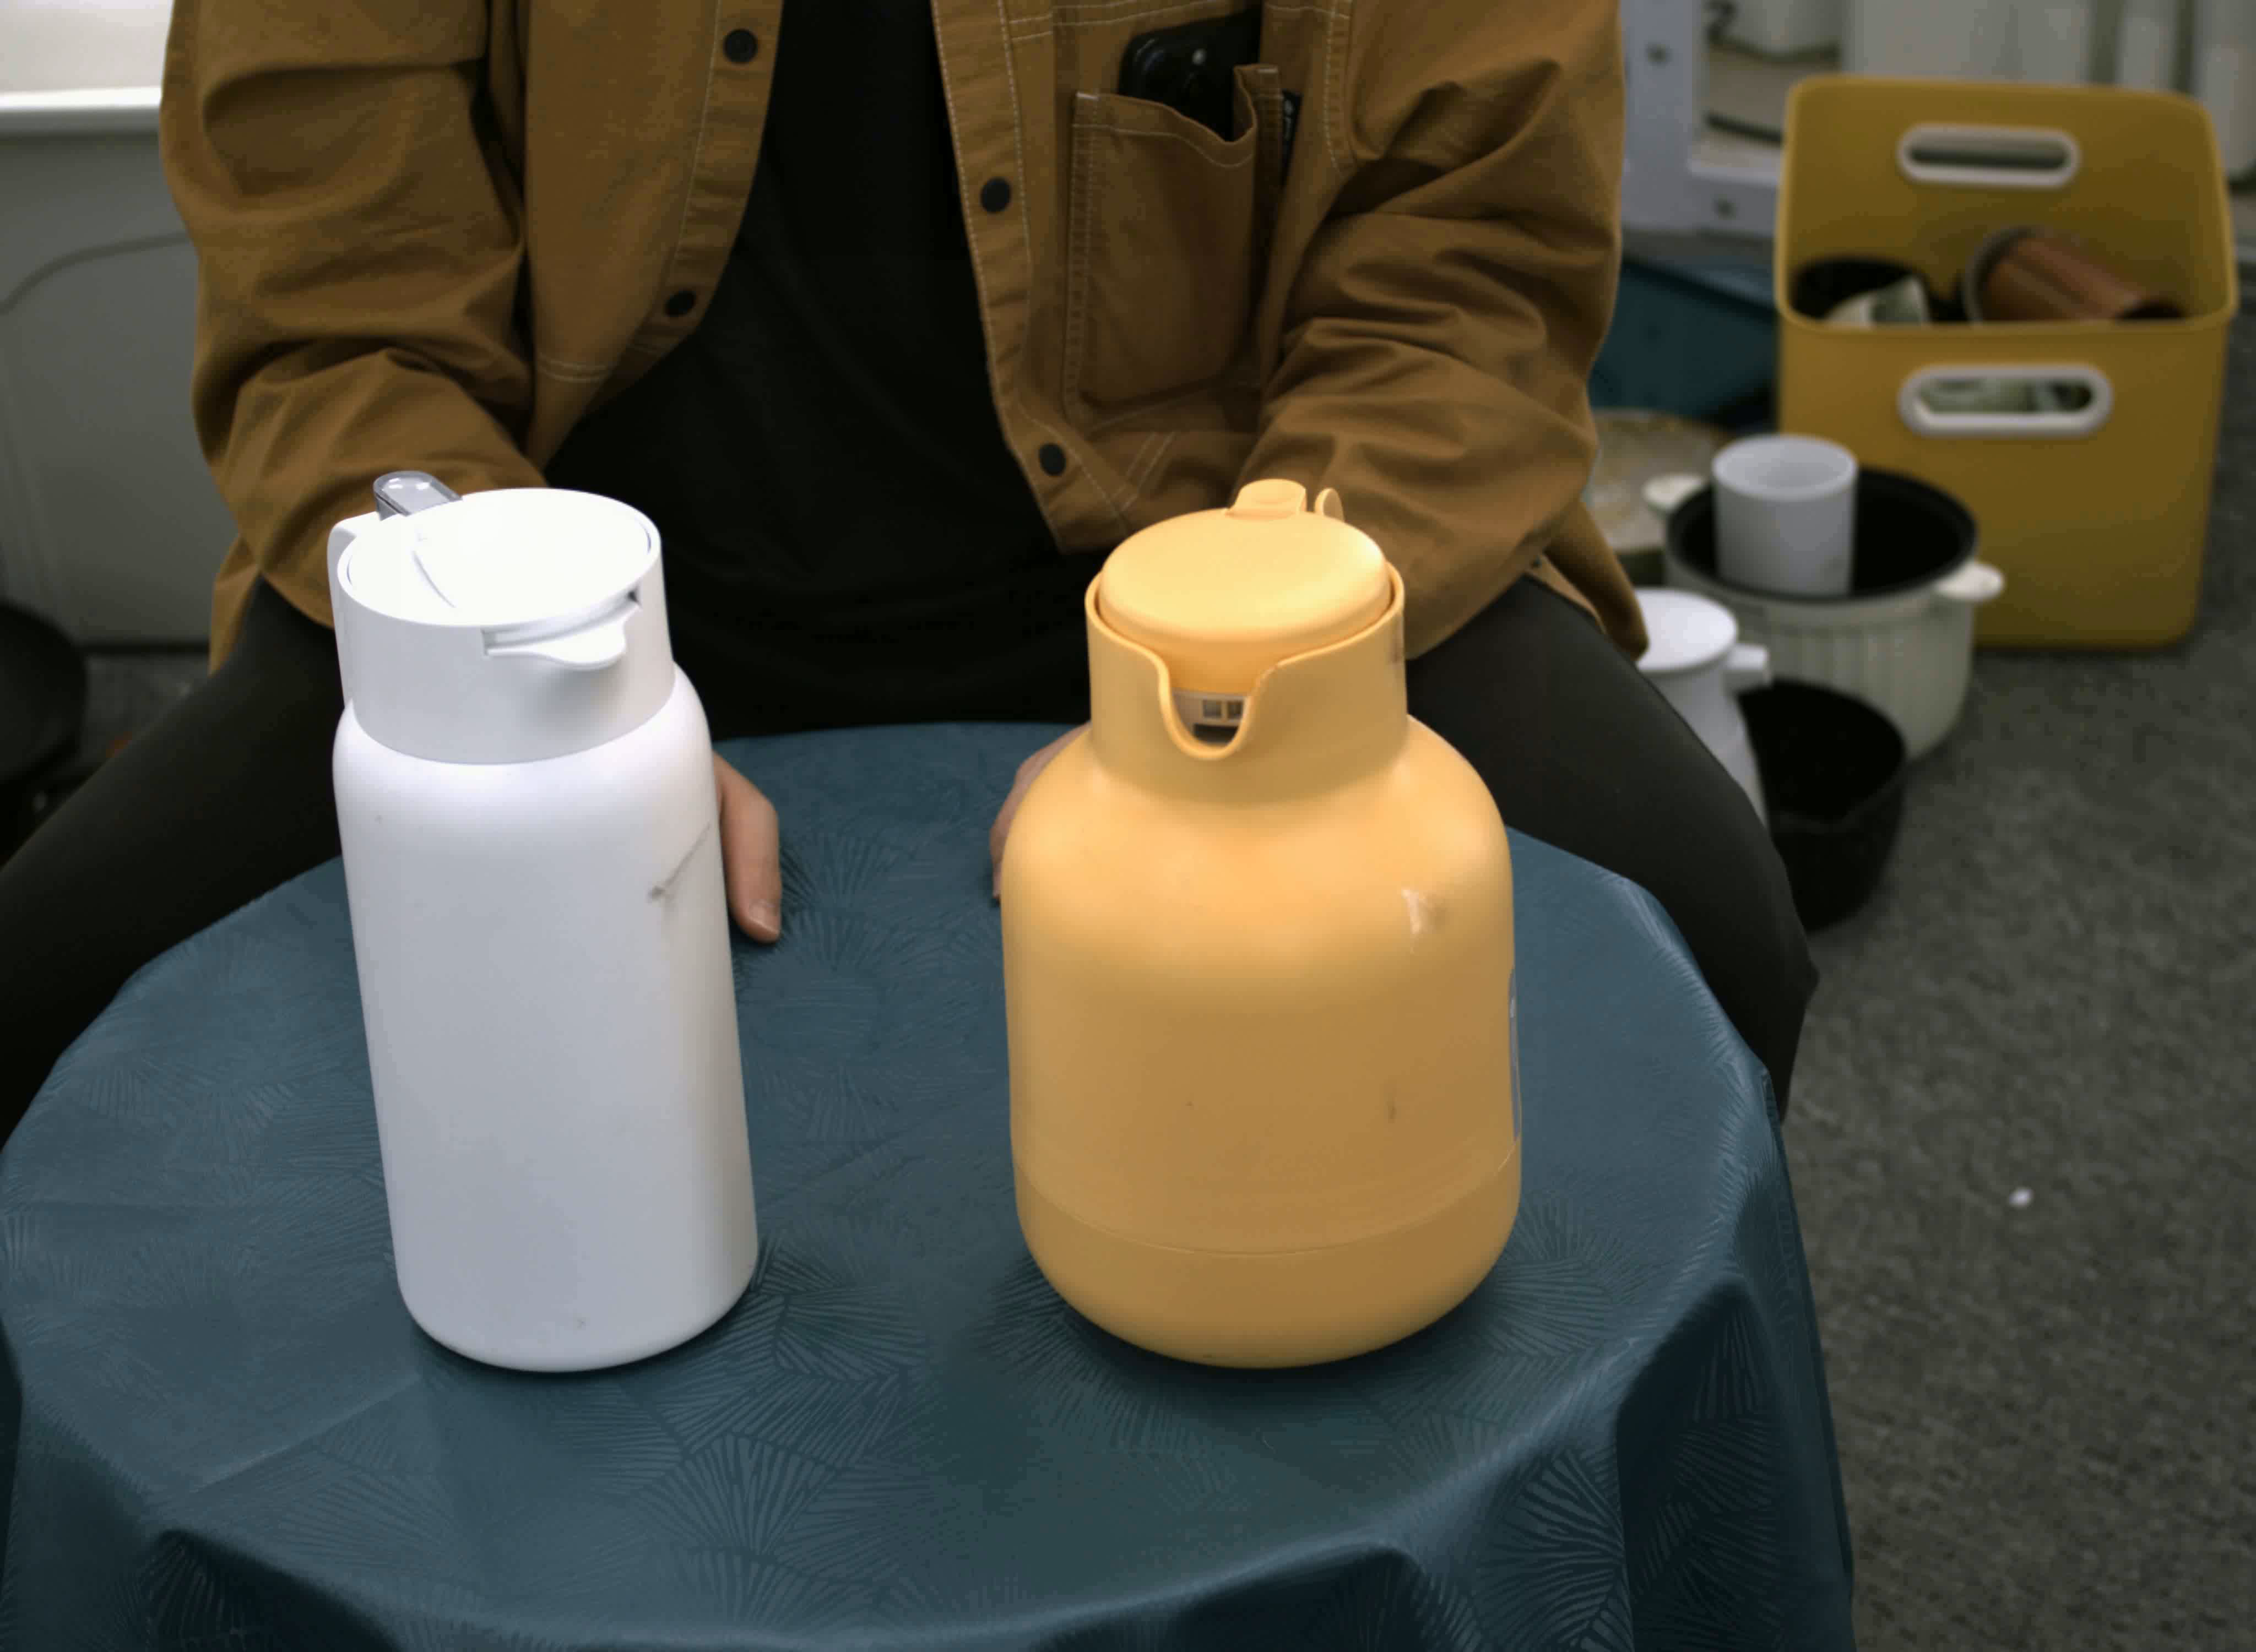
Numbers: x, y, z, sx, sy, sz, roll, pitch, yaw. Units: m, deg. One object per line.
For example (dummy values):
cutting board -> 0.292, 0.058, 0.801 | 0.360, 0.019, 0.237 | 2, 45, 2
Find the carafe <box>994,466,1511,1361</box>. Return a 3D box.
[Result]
carafe -> 0.044, 0.018, 1.772 | 0.162, 0.257, 0.206 | 6, 29, 11

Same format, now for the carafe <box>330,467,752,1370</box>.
carafe -> -0.195, 0.025, 1.776 | 0.125, 0.266, 0.173 | -20, 31, -27
